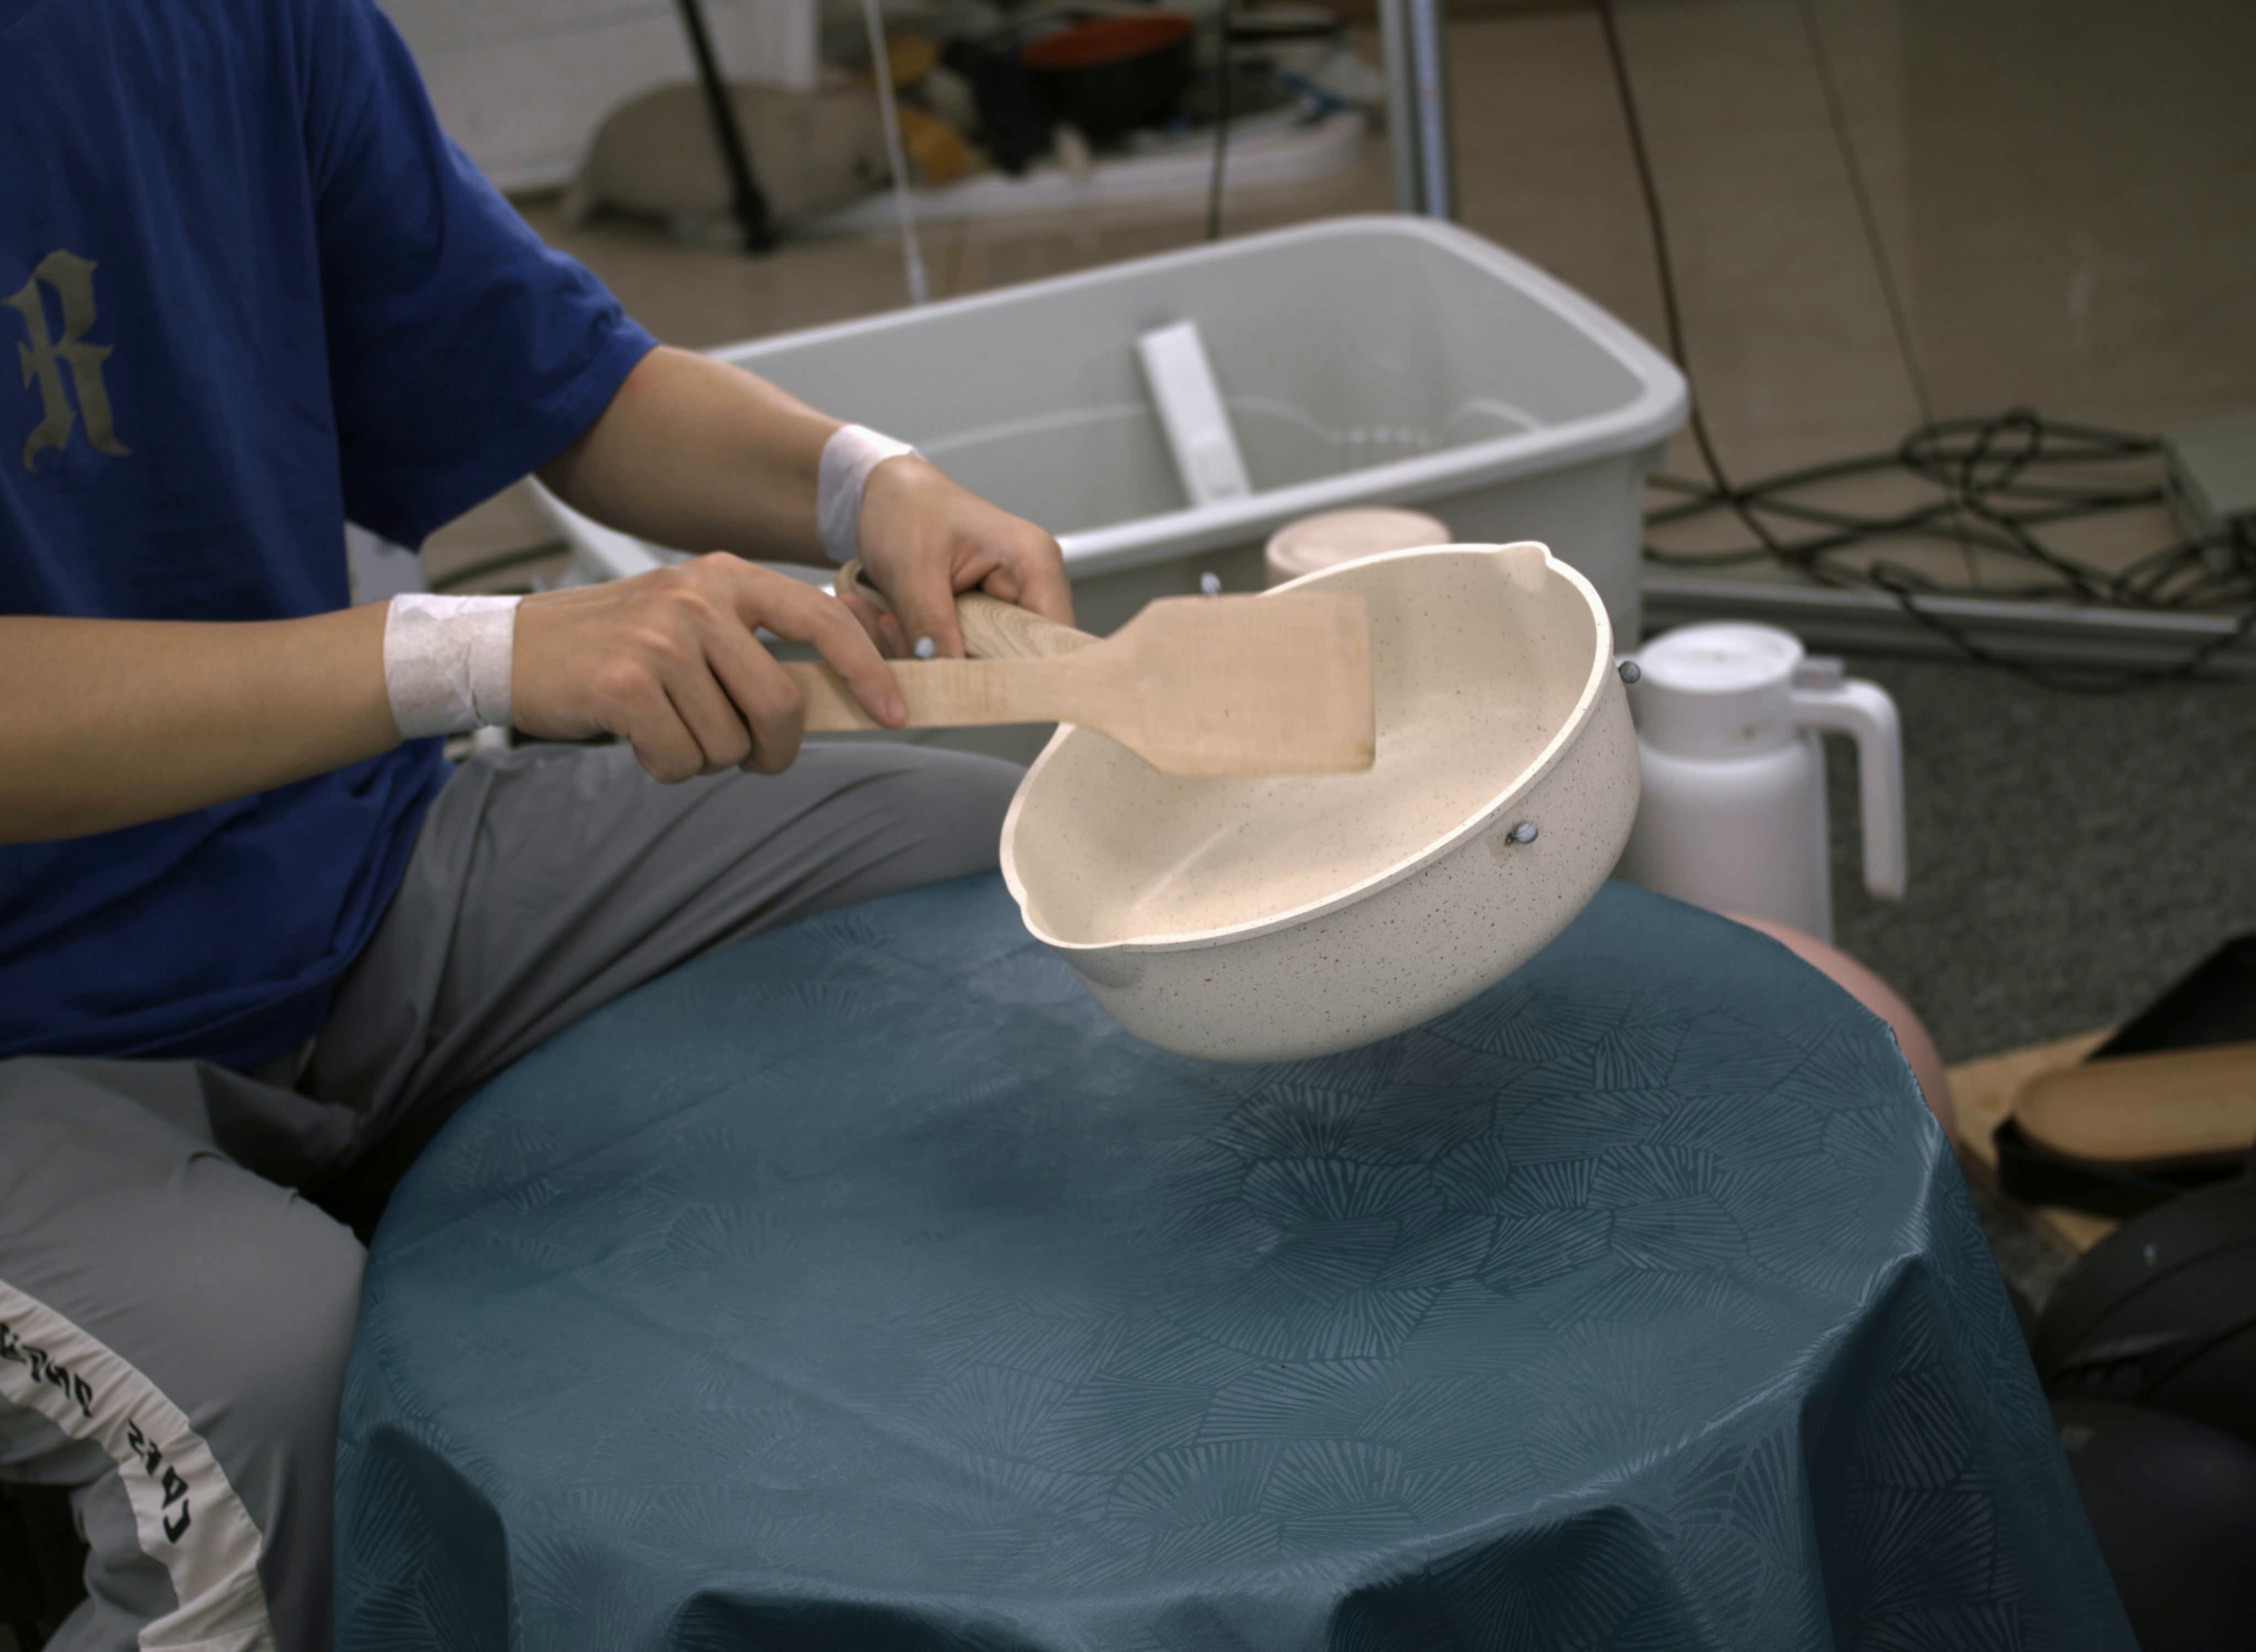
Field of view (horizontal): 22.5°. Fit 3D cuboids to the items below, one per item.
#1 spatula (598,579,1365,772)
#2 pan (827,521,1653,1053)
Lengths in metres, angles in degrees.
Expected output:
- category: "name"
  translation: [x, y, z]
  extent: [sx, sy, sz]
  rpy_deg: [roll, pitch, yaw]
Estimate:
- category: "spatula"
  translation: [-0.056, -0.054, 2.160]
  extent: [0.292, 0.072, 0.010]
  rpy_deg: [-2, 4, 1]
- category: "pan"
  translation: [0.028, -0.029, 2.236]
  extent: [0.261, 0.103, 0.432]
  rpy_deg: [-42, 31, -22]
